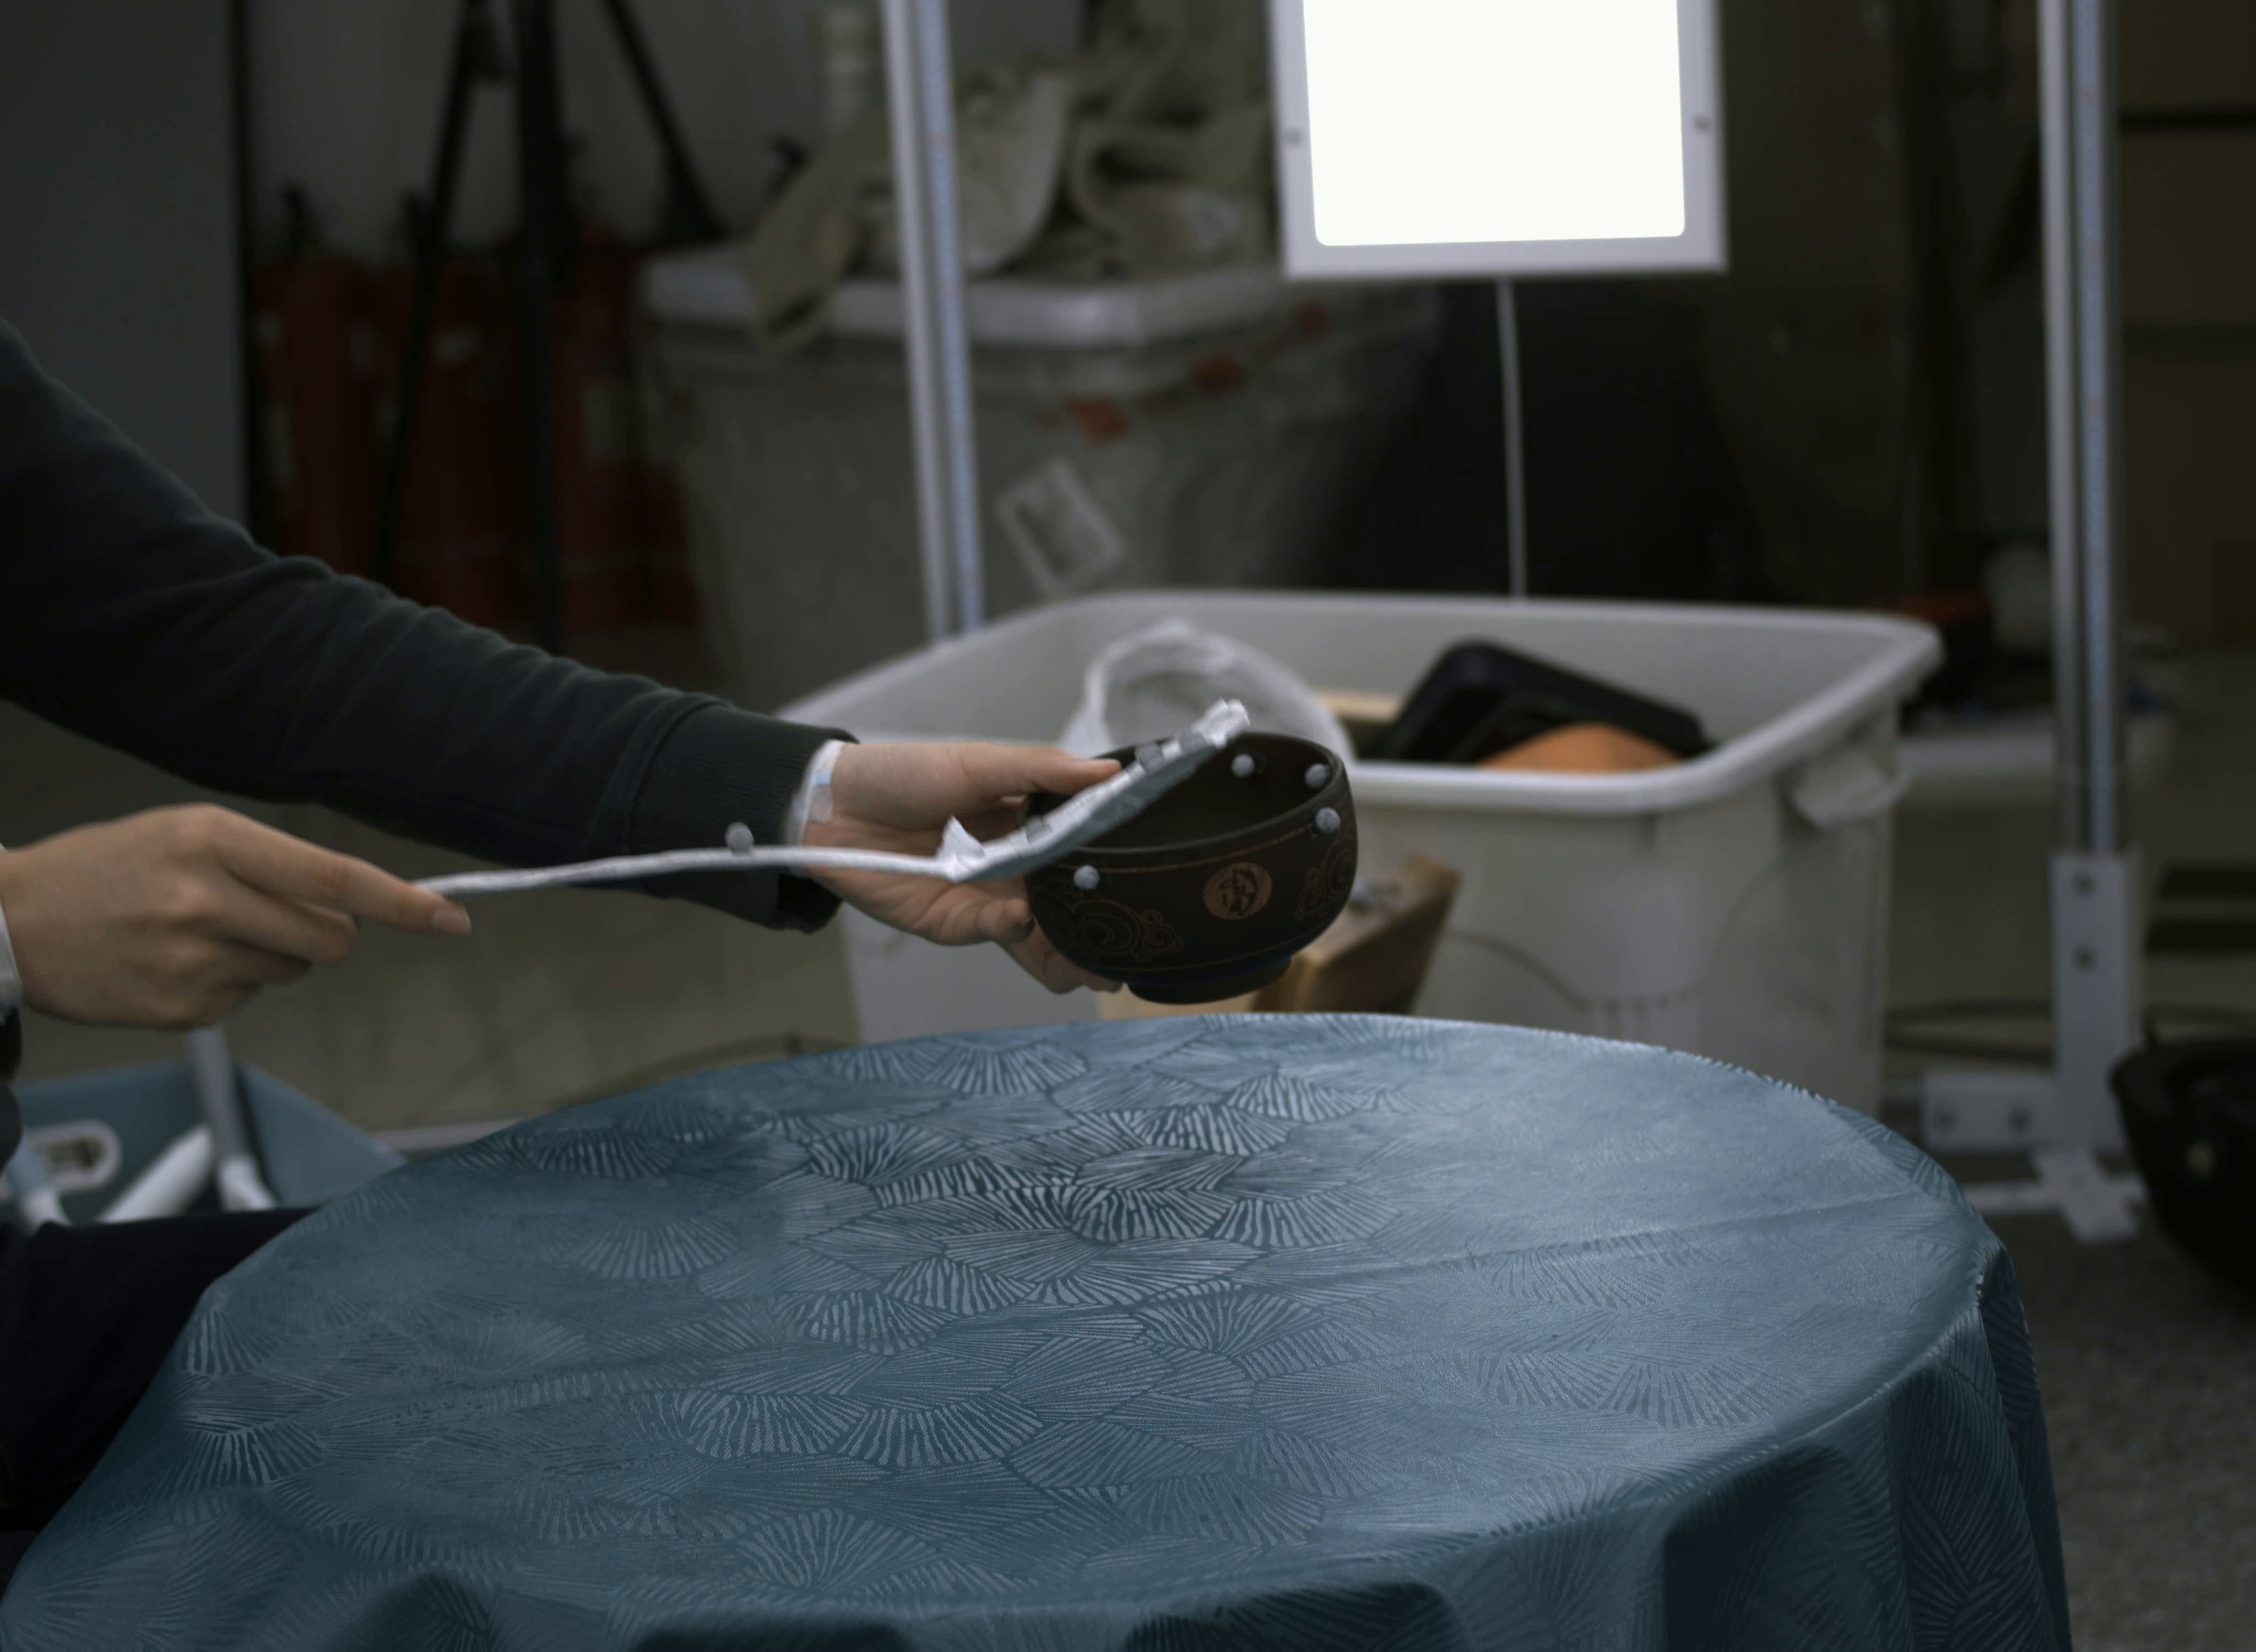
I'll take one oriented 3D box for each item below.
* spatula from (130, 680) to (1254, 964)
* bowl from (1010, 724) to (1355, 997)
[{"bbox_3d":[-0.139,0.003,1.679,0.367,0.045,0.097,-7,9,12],"label":"spatula"},{"bbox_3d":[0.022,0.016,1.888,0.118,0.070,0.118,-10,18,2],"label":"bowl"}]
